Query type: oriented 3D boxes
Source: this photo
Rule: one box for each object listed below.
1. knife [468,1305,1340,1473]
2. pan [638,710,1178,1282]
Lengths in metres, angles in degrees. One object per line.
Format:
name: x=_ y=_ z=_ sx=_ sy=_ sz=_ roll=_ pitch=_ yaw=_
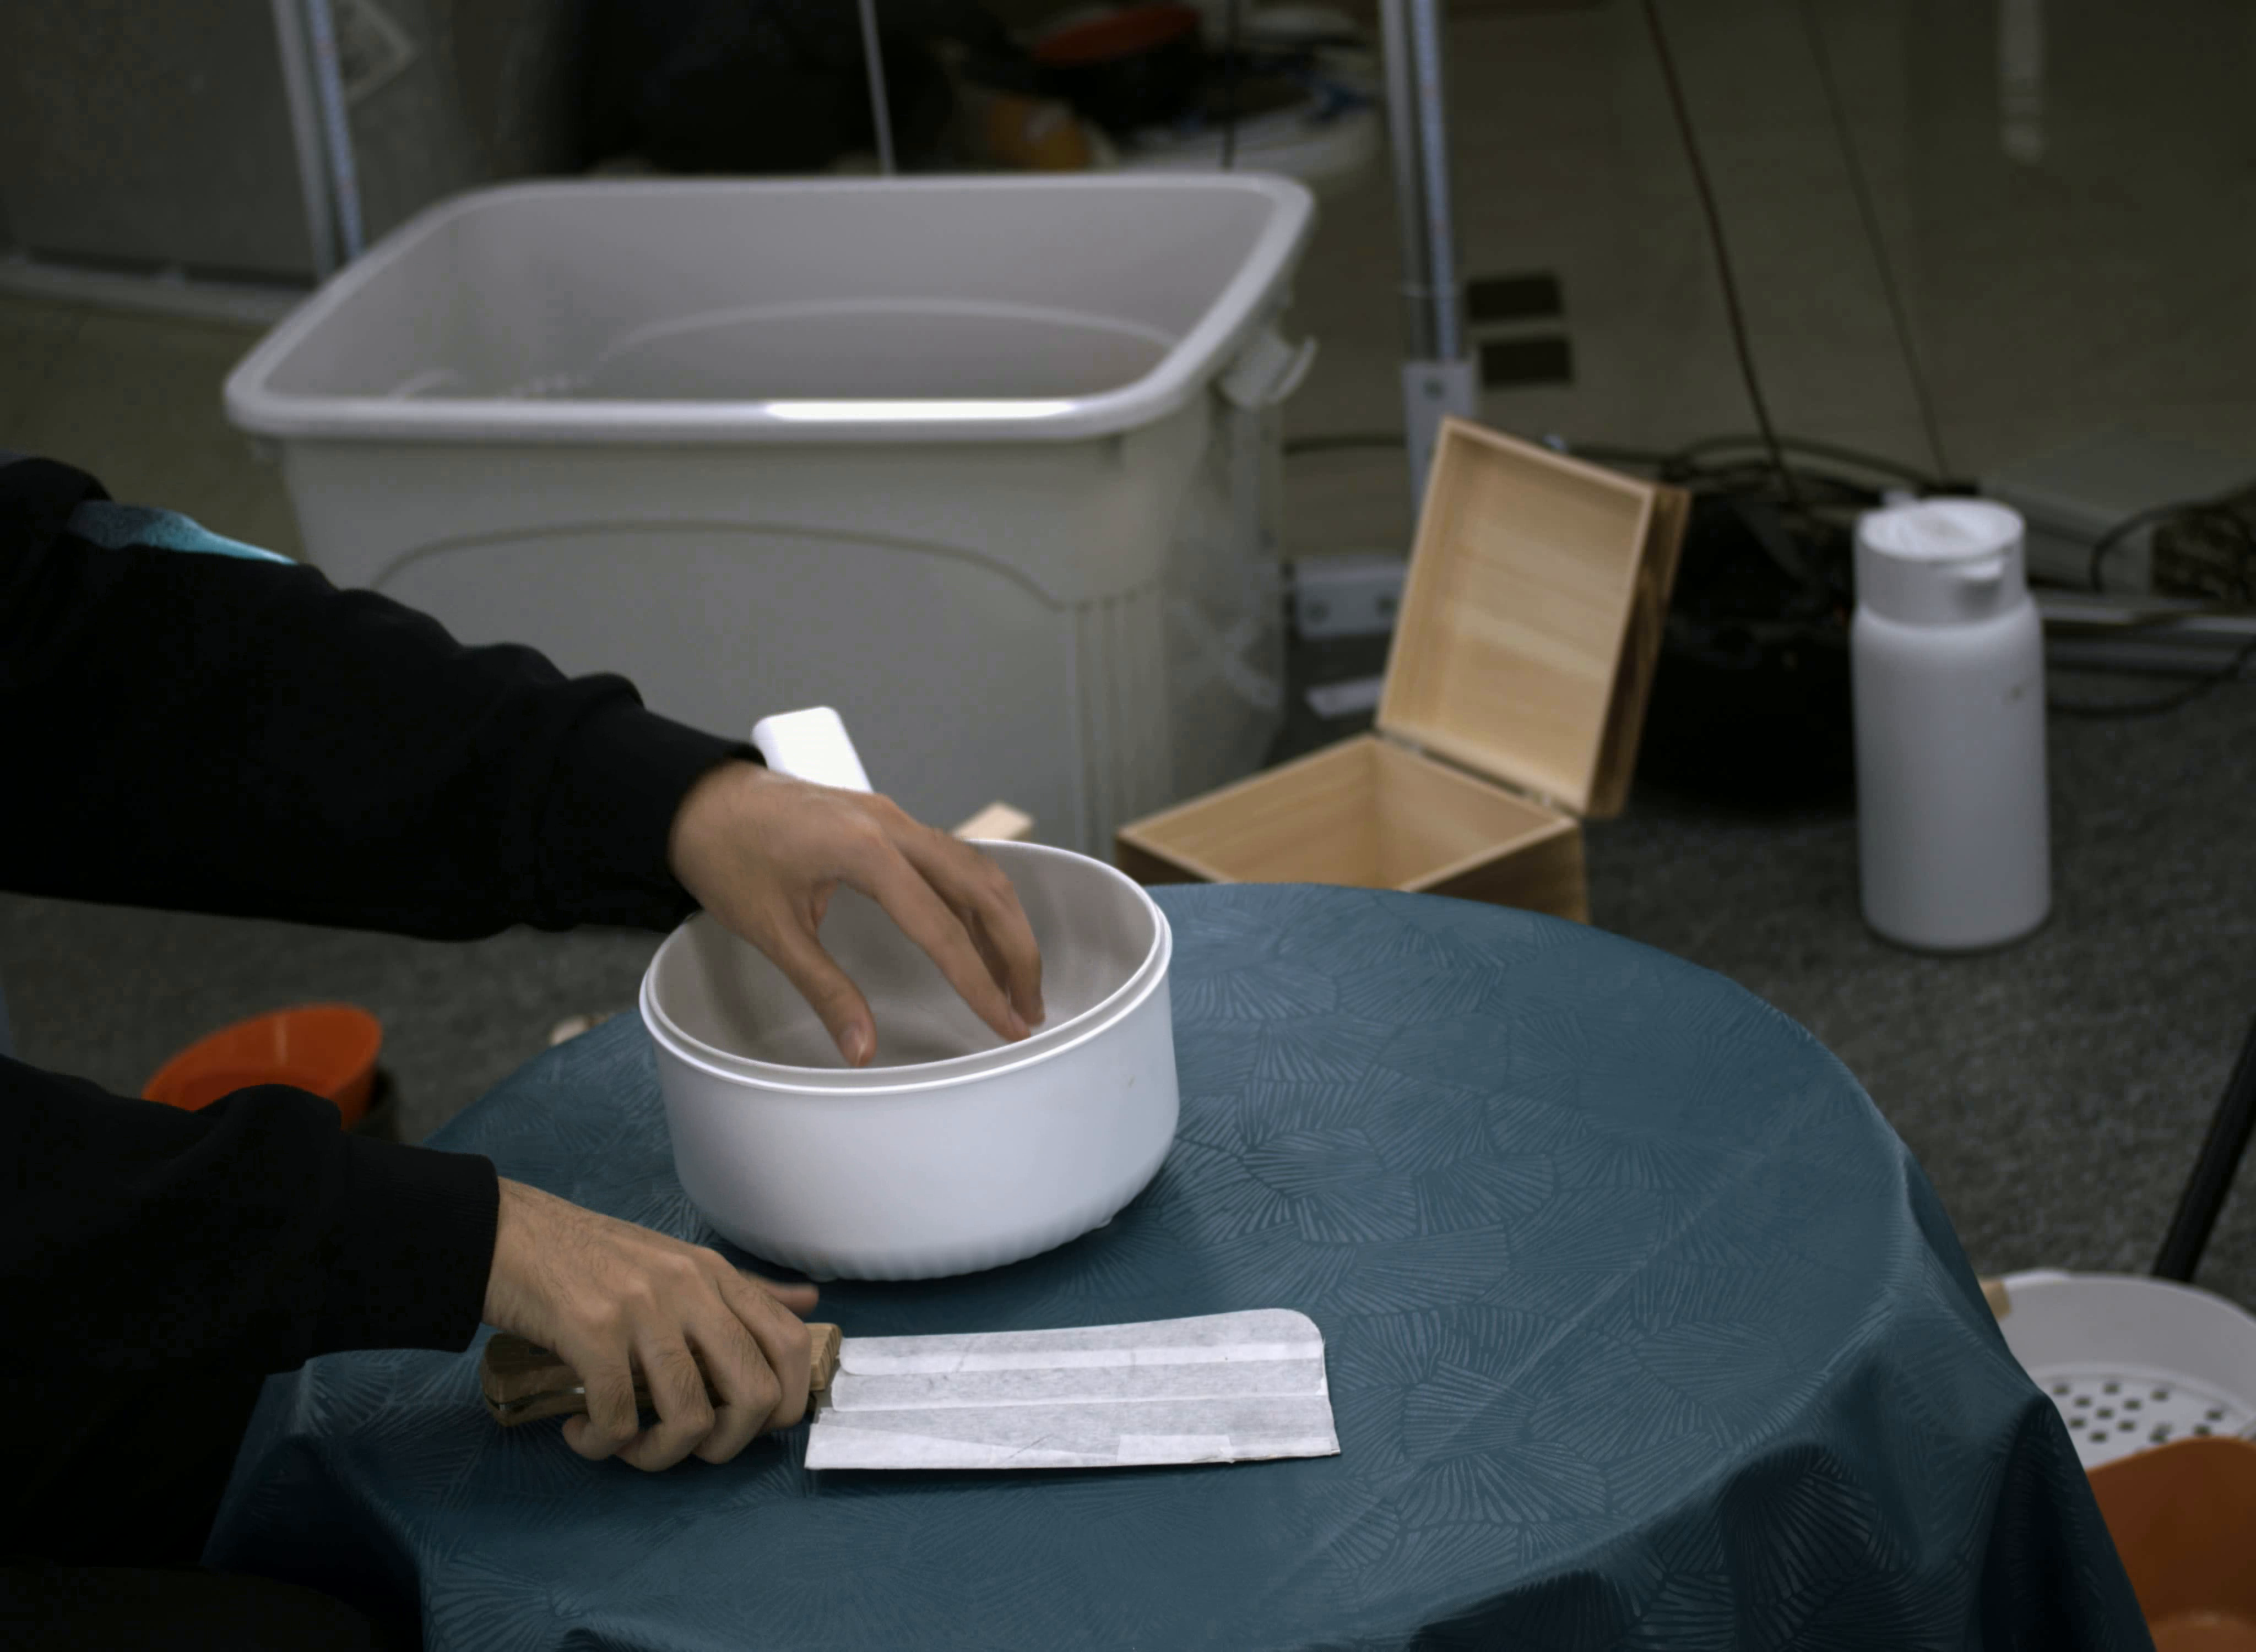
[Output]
knife: x=-0.080 y=0.199 z=2.016 sx=0.315 sy=0.022 sz=0.112 roll=-1 pitch=26 yaw=6
pan: x=-0.096 y=0.064 z=2.213 sx=0.201 sy=0.104 sz=0.350 roll=-11 pitch=25 yaw=-8
